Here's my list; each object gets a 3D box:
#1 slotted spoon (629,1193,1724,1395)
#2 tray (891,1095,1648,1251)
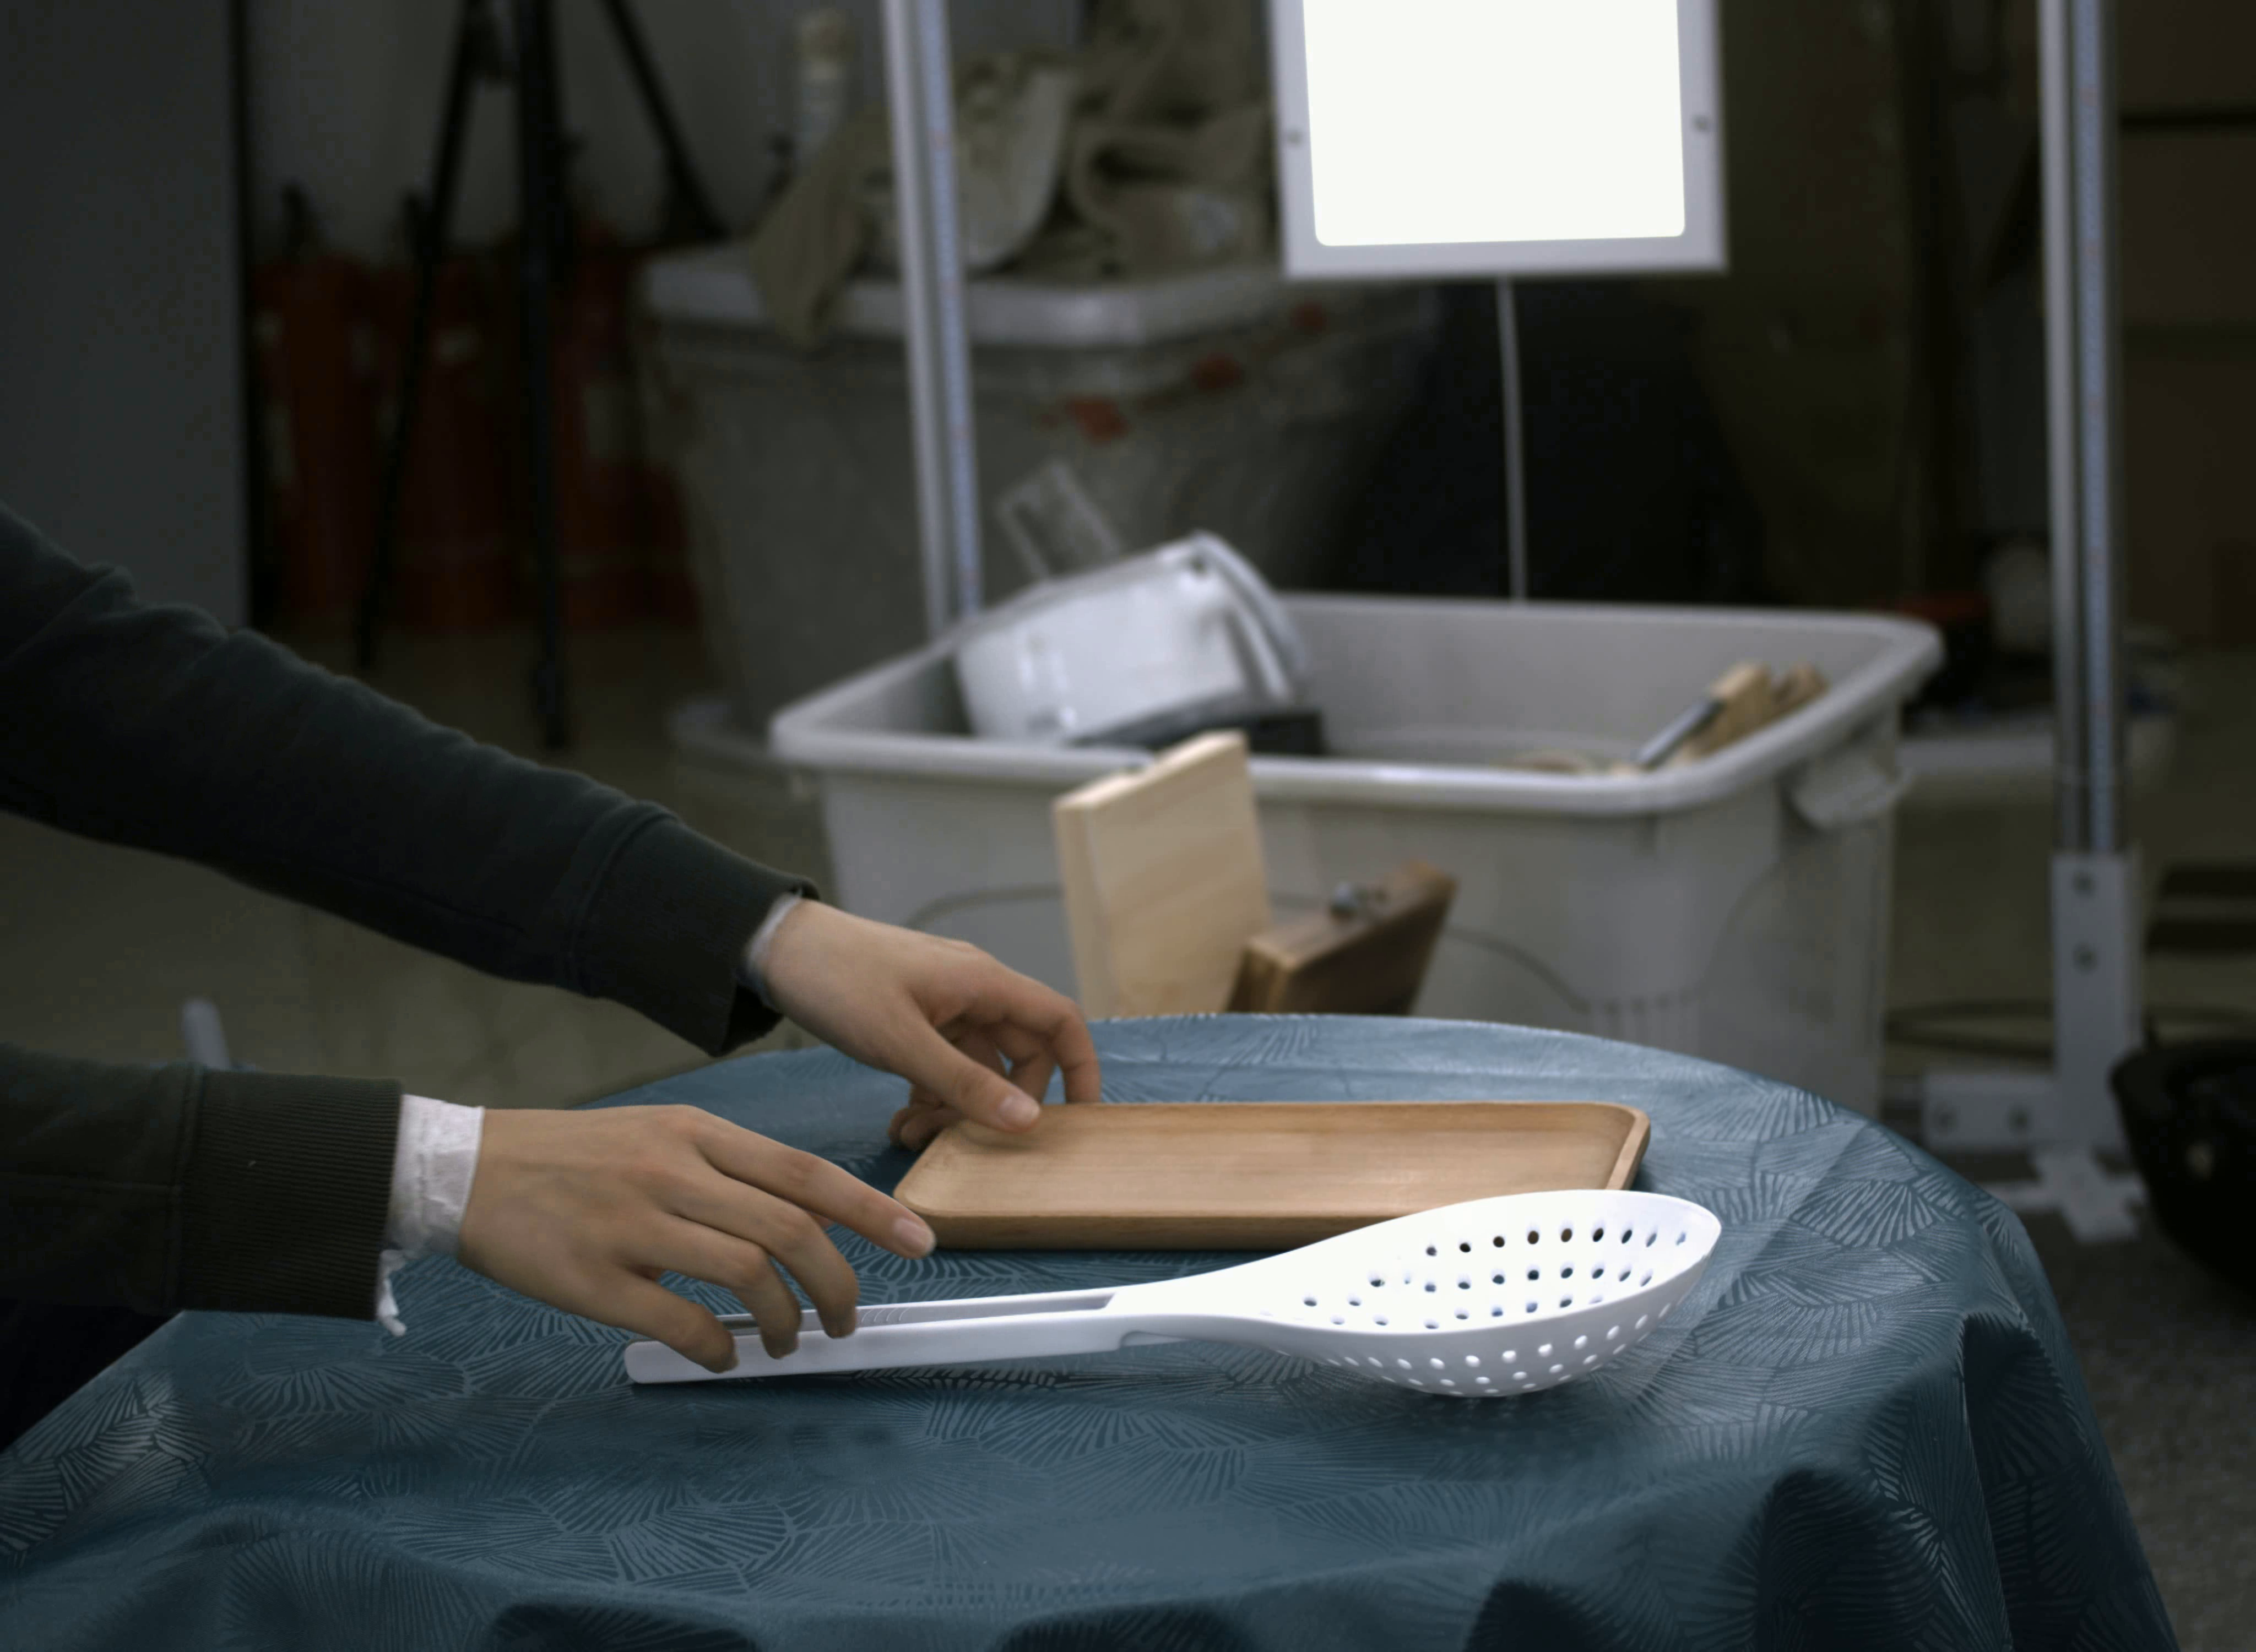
[{"bbox_3d":[0.012,0.150,1.703,0.353,0.046,0.134,-2,12,16],"label":"slotted spoon"},{"bbox_3d":[0.049,0.119,1.877,0.253,0.023,0.129,-2,12,16],"label":"tray"}]
